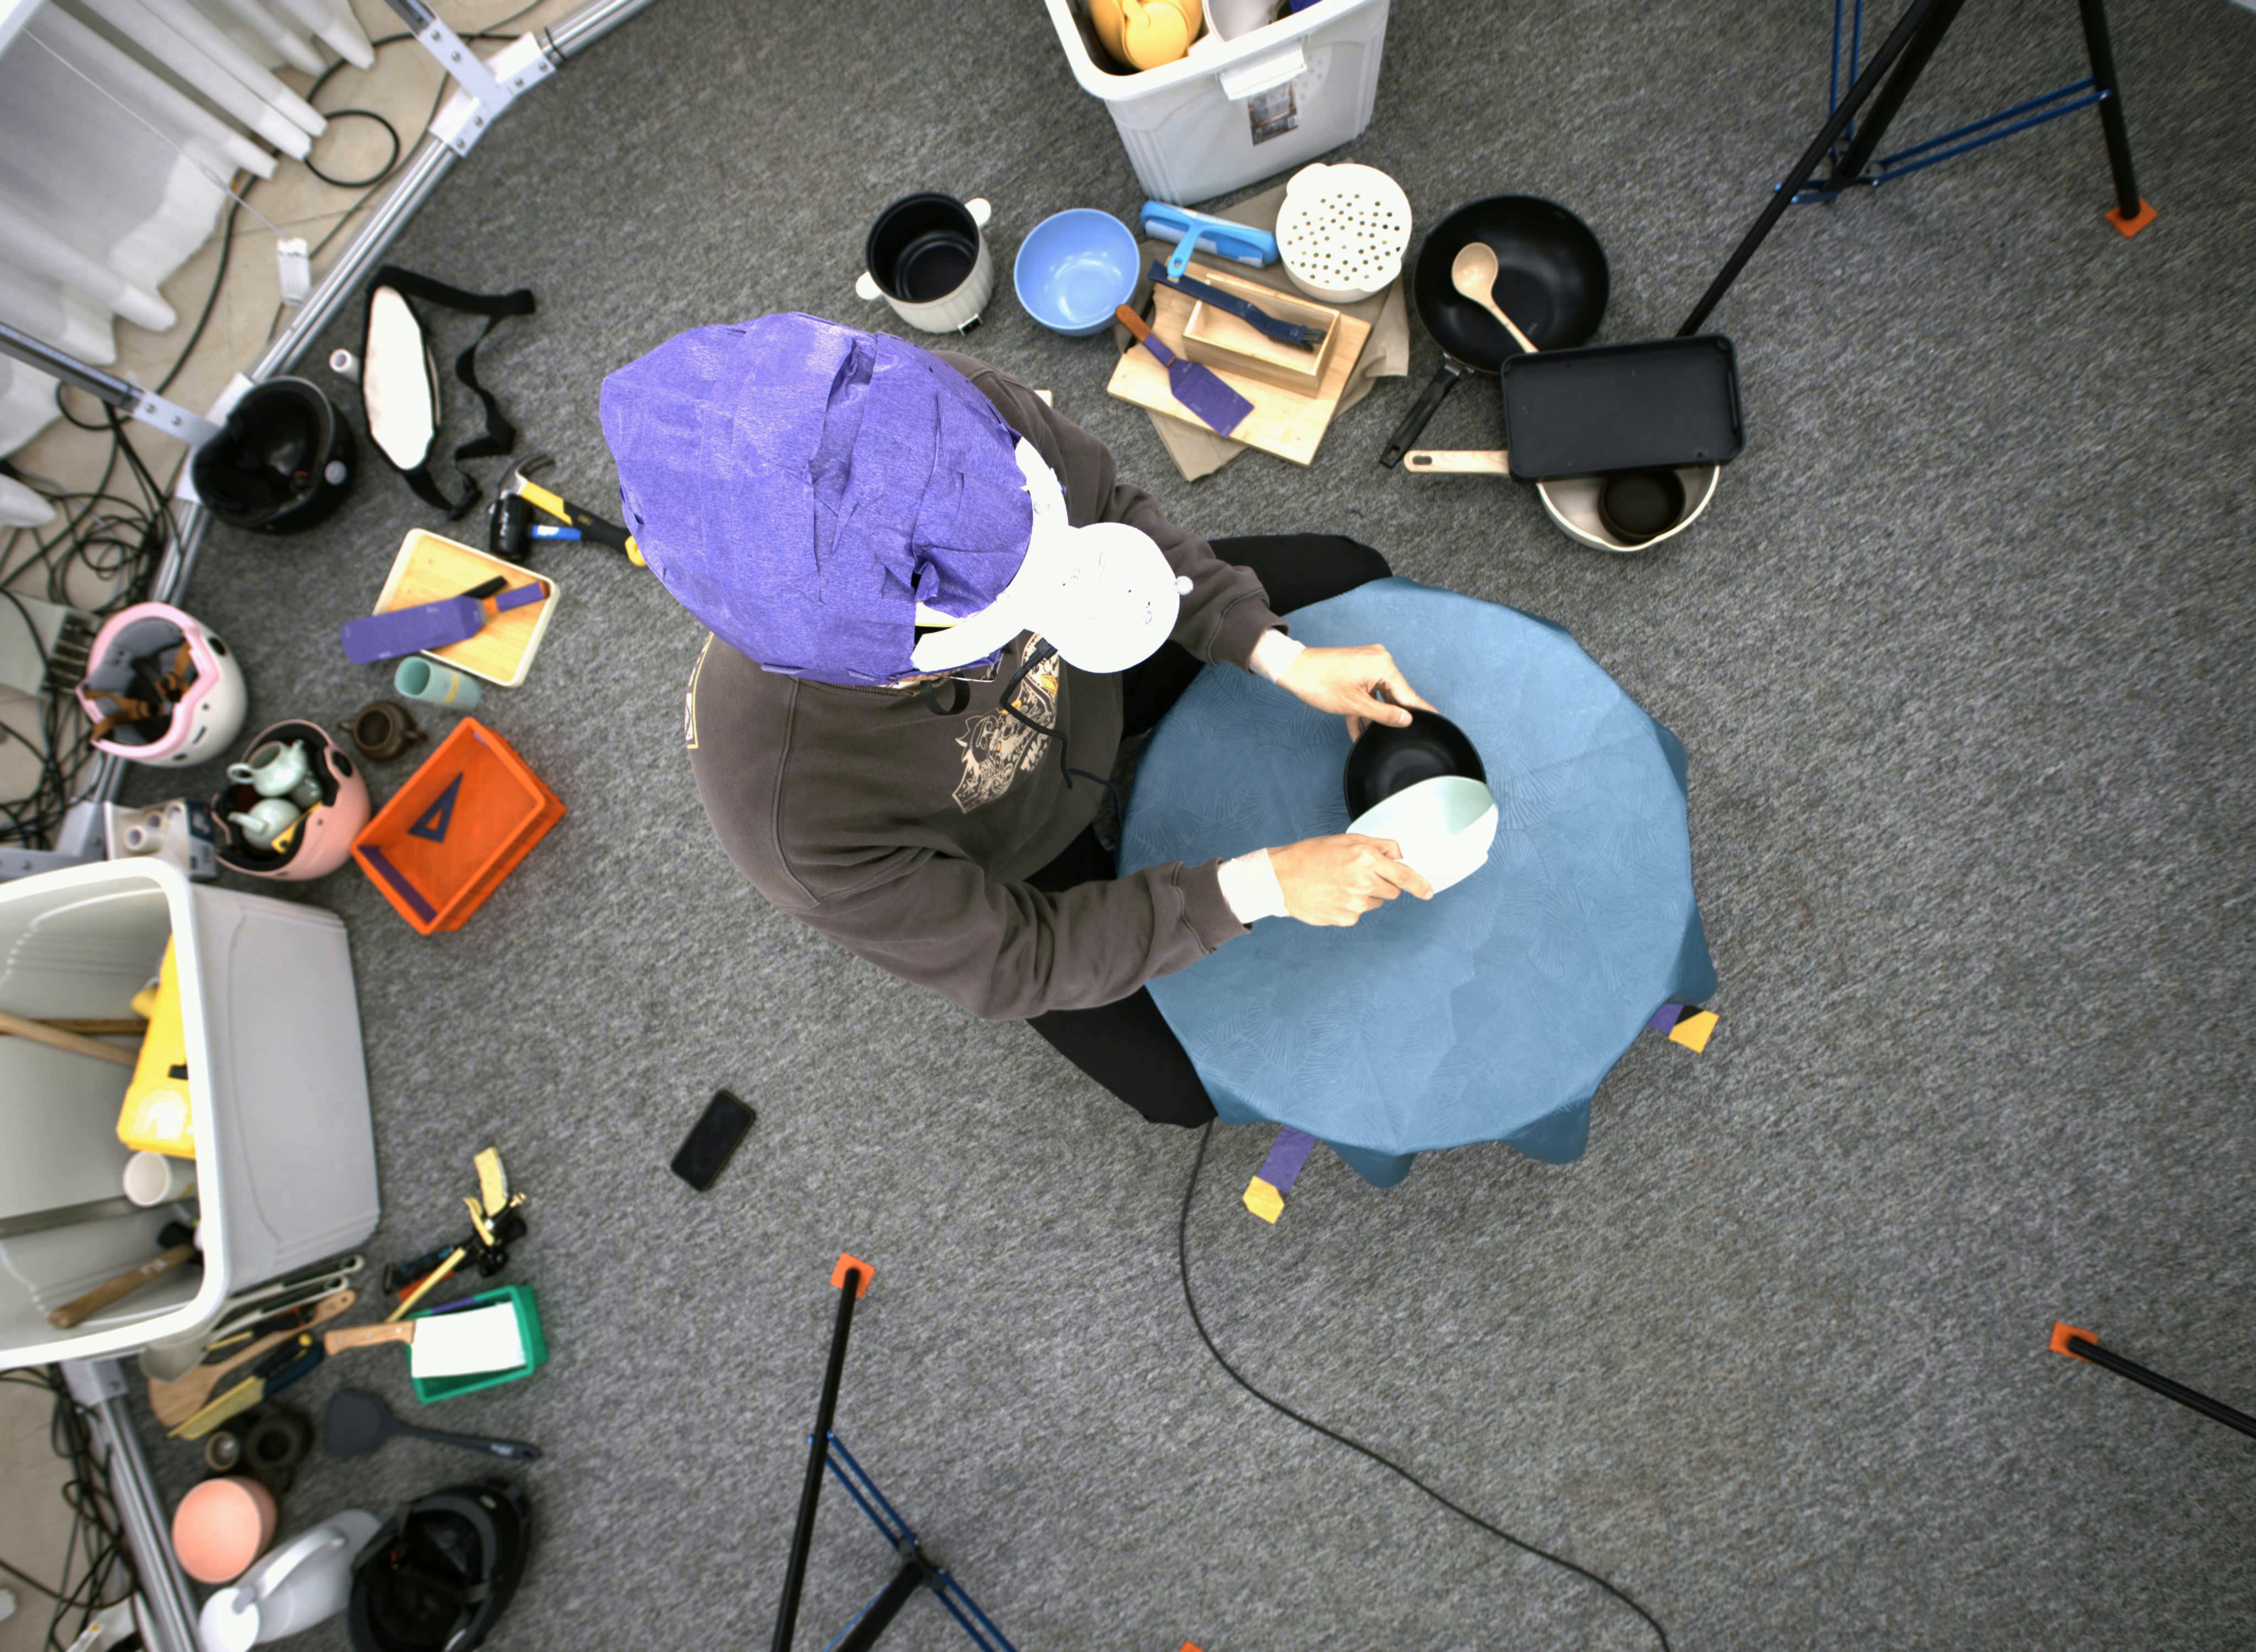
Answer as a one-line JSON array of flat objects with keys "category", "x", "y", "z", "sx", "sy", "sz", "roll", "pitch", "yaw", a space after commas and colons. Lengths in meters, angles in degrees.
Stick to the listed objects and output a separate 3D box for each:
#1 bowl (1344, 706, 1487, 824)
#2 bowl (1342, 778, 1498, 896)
[{"category": "bowl", "x": 0.287, "y": -0.036, "z": 1.370, "sx": 0.138, "sy": 0.066, "sz": 0.170, "roll": -12, "pitch": 91, "yaw": 15}, {"category": "bowl", "x": 0.282, "y": 0.014, "z": 1.300, "sx": 0.152, "sy": 0.148, "sz": 0.059, "roll": -23, "pitch": 112, "yaw": 8}]
